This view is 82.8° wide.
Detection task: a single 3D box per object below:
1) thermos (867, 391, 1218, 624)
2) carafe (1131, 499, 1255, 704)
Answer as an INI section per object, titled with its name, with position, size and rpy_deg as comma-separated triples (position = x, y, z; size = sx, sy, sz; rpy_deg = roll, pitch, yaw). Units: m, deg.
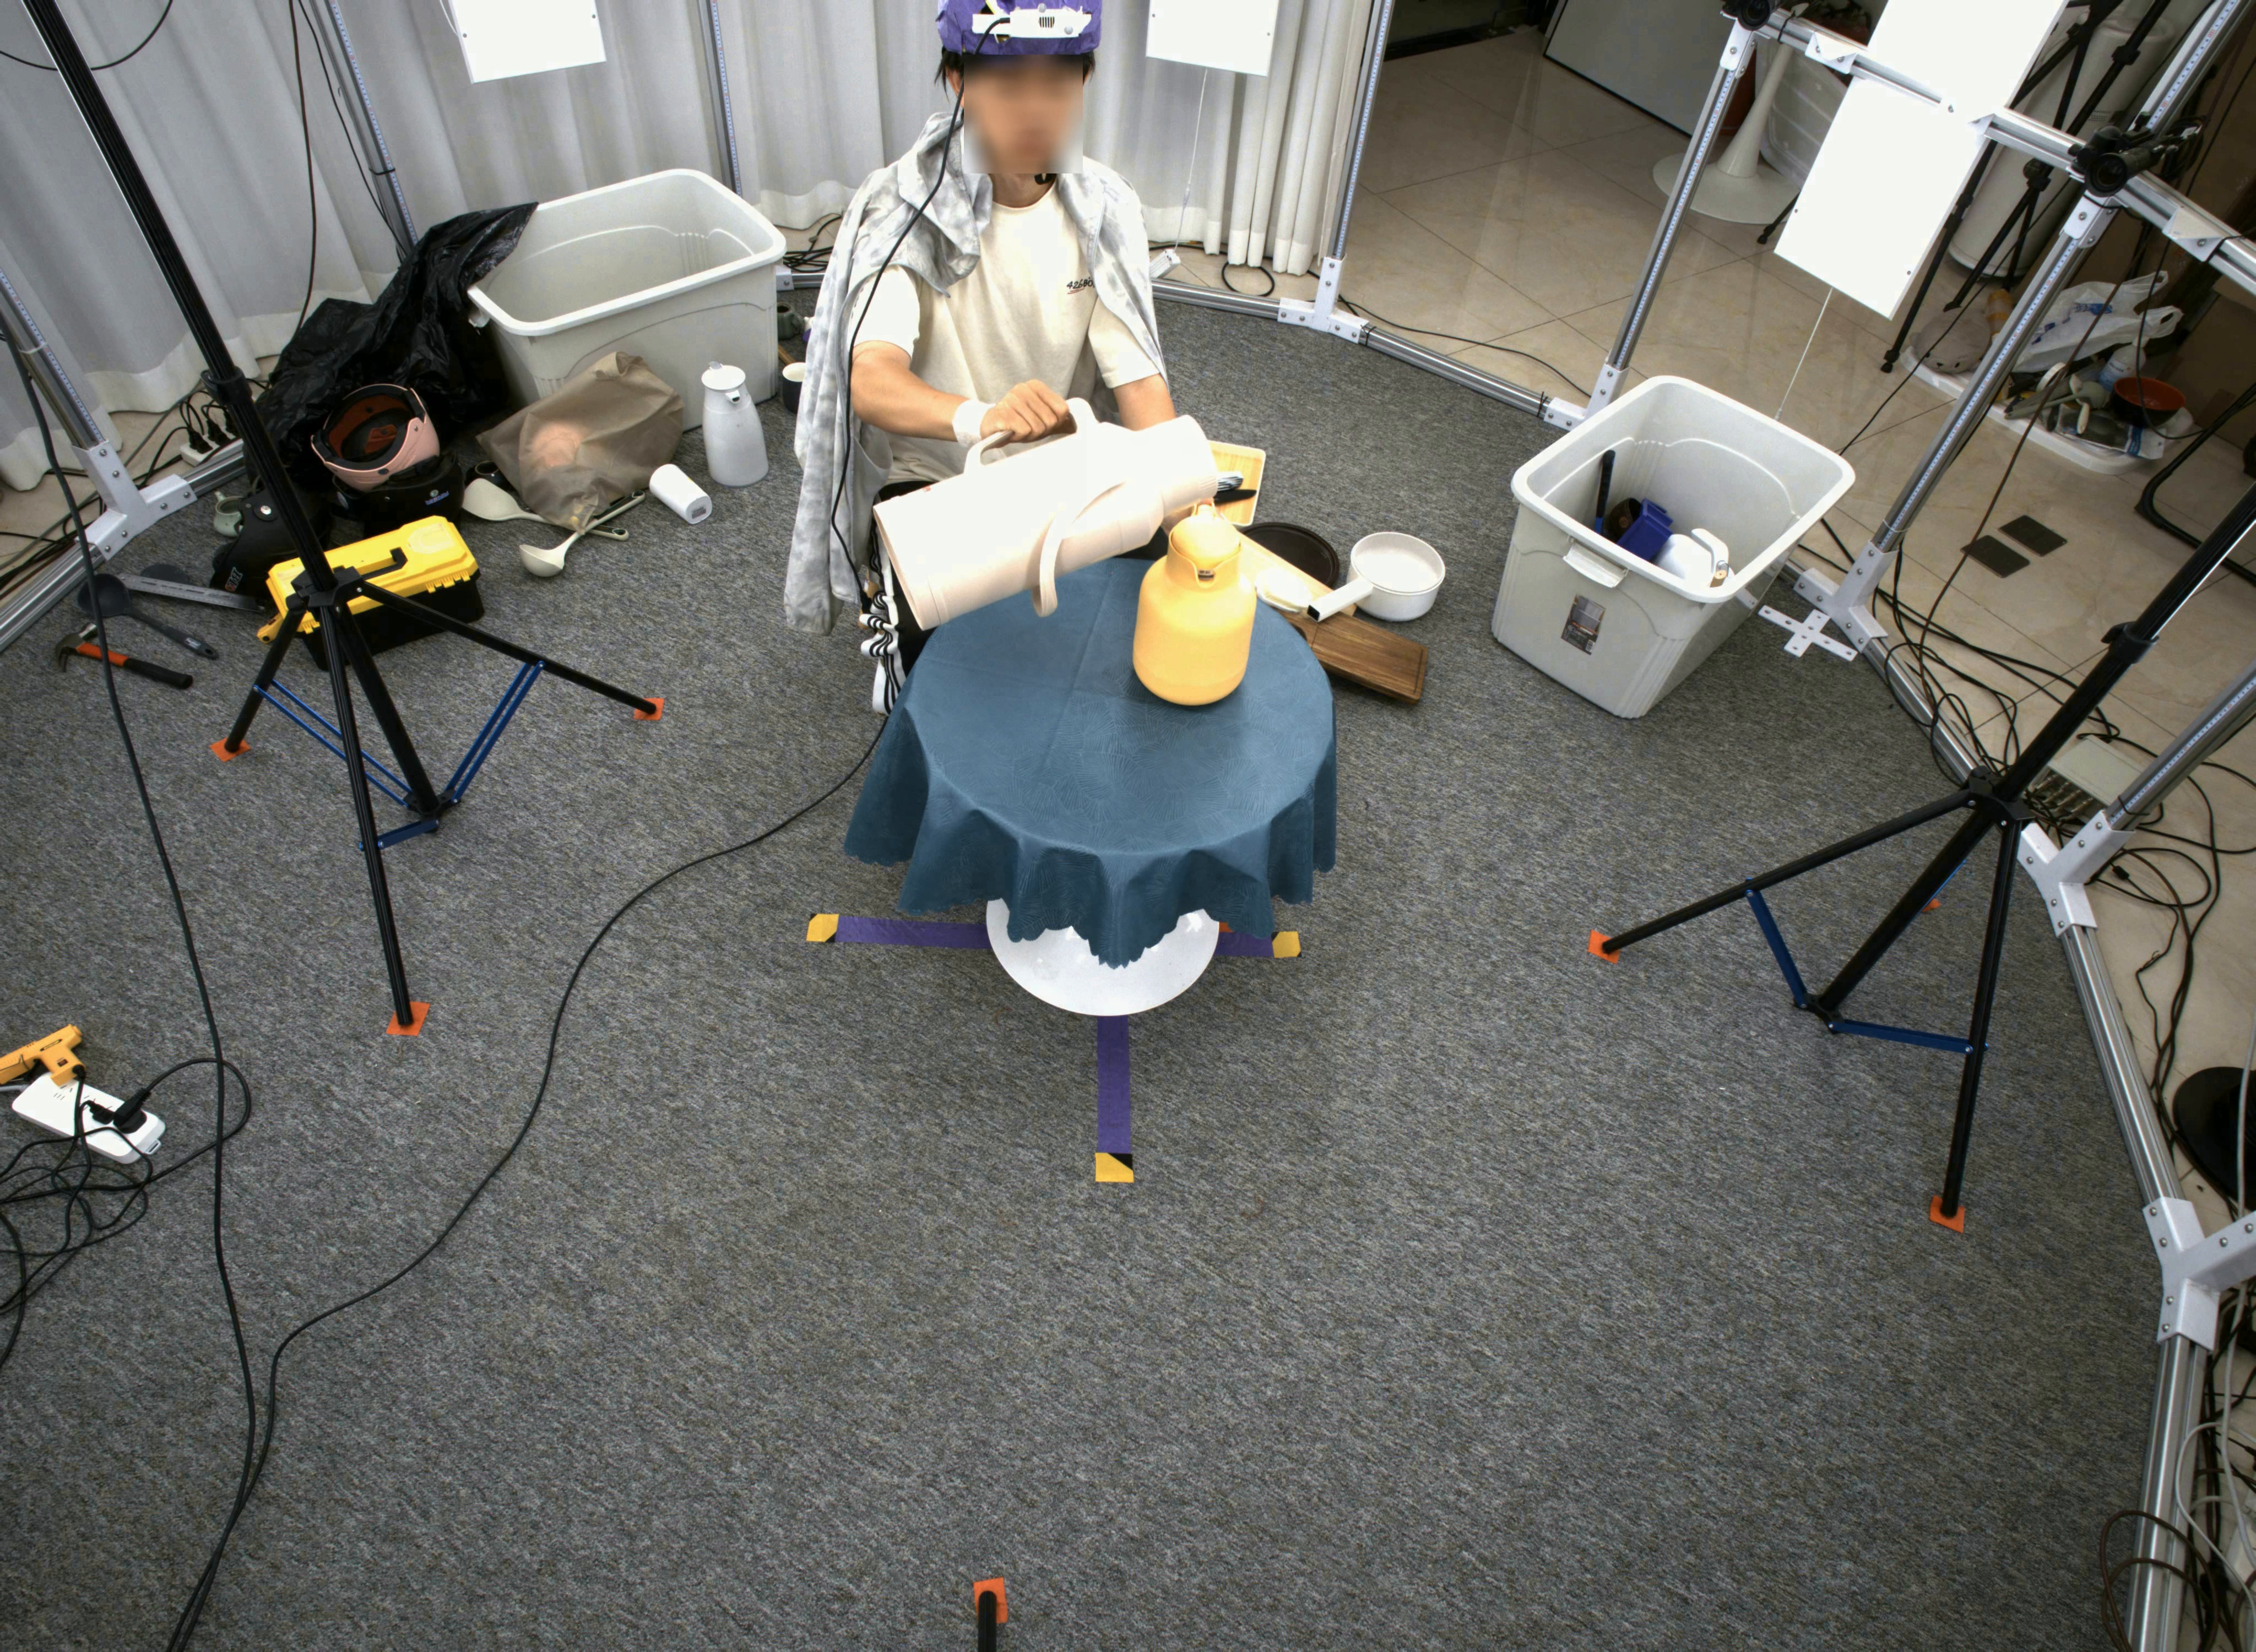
[thermos]
position = -0.101, -0.397, 1.551
size = 0.406, 0.175, 0.207
rpy_deg = -22, 90, -8
[carafe]
position = 0.095, -0.317, 1.774
size = 0.163, 0.254, 0.207
rpy_deg = 6, 50, -2
